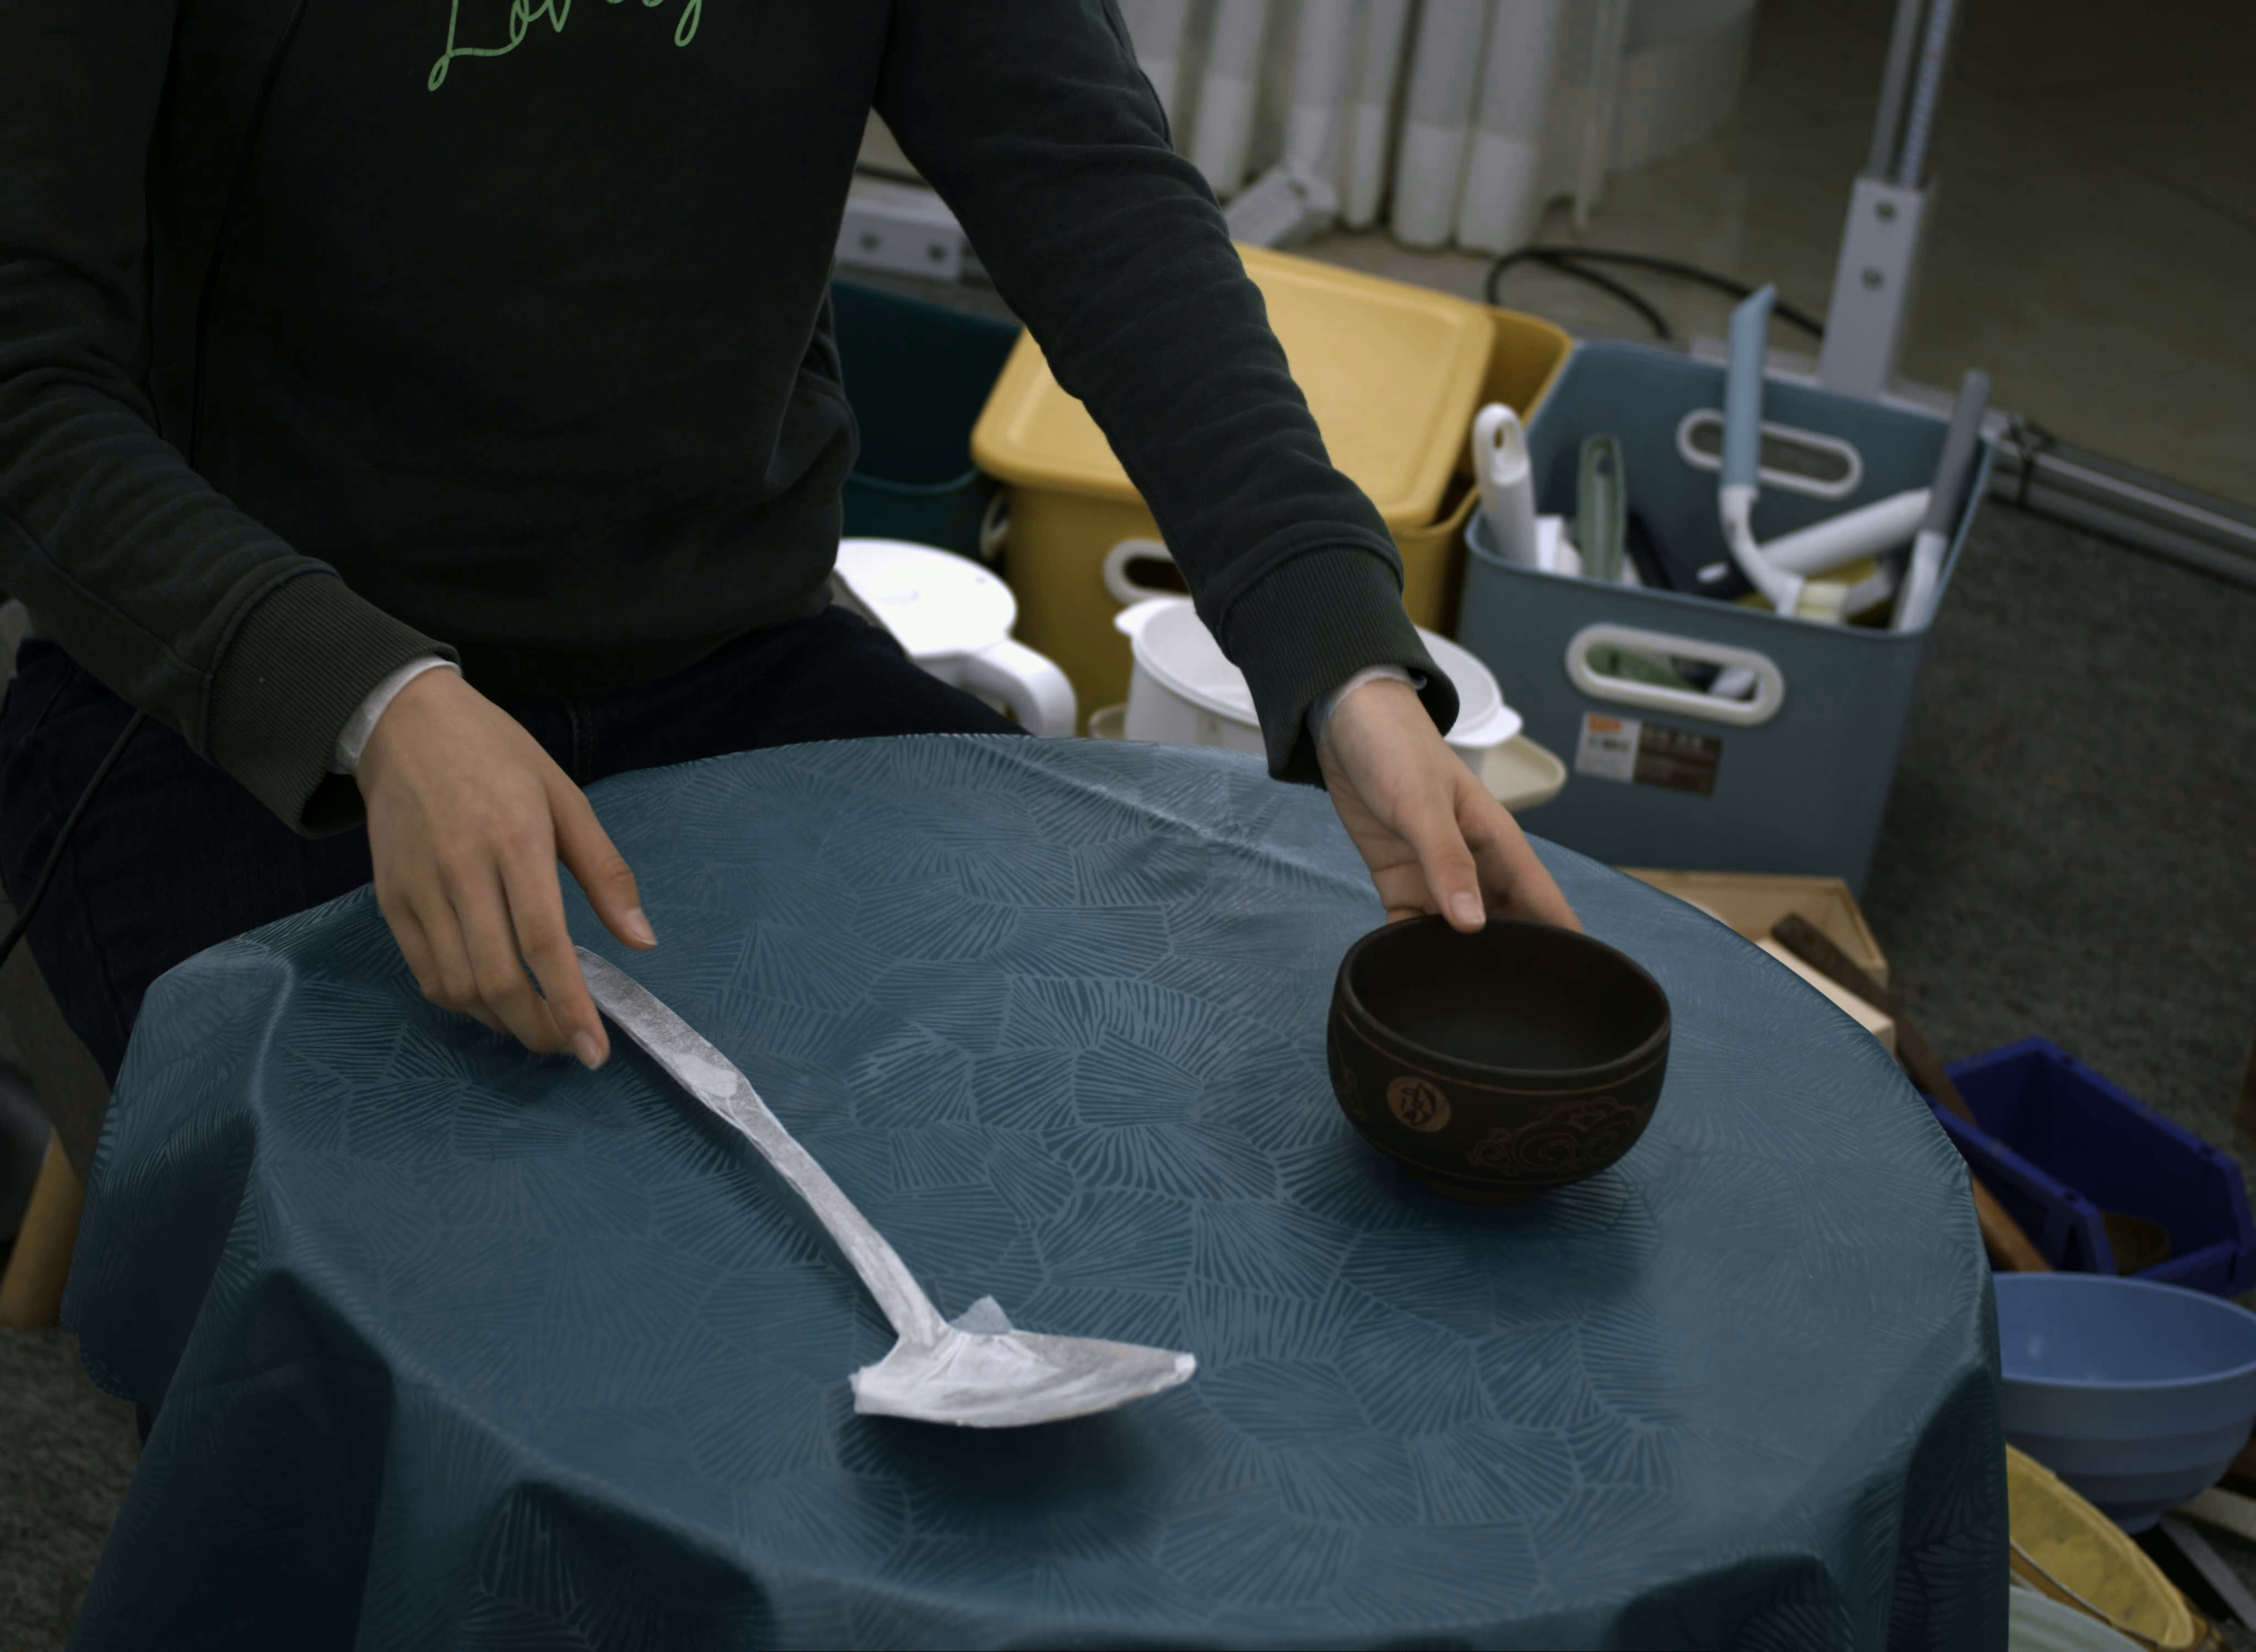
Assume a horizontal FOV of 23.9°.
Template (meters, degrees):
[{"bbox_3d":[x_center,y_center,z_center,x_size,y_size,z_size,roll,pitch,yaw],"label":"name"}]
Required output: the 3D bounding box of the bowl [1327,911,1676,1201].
[{"bbox_3d":[0.125,0.085,1.825,0.117,0.069,0.119,6,25,-3],"label":"bowl"}]

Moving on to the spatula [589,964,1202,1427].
[{"bbox_3d":[-0.101,0.114,1.755,0.098,0.044,0.368,-11,32,-28],"label":"spatula"}]
